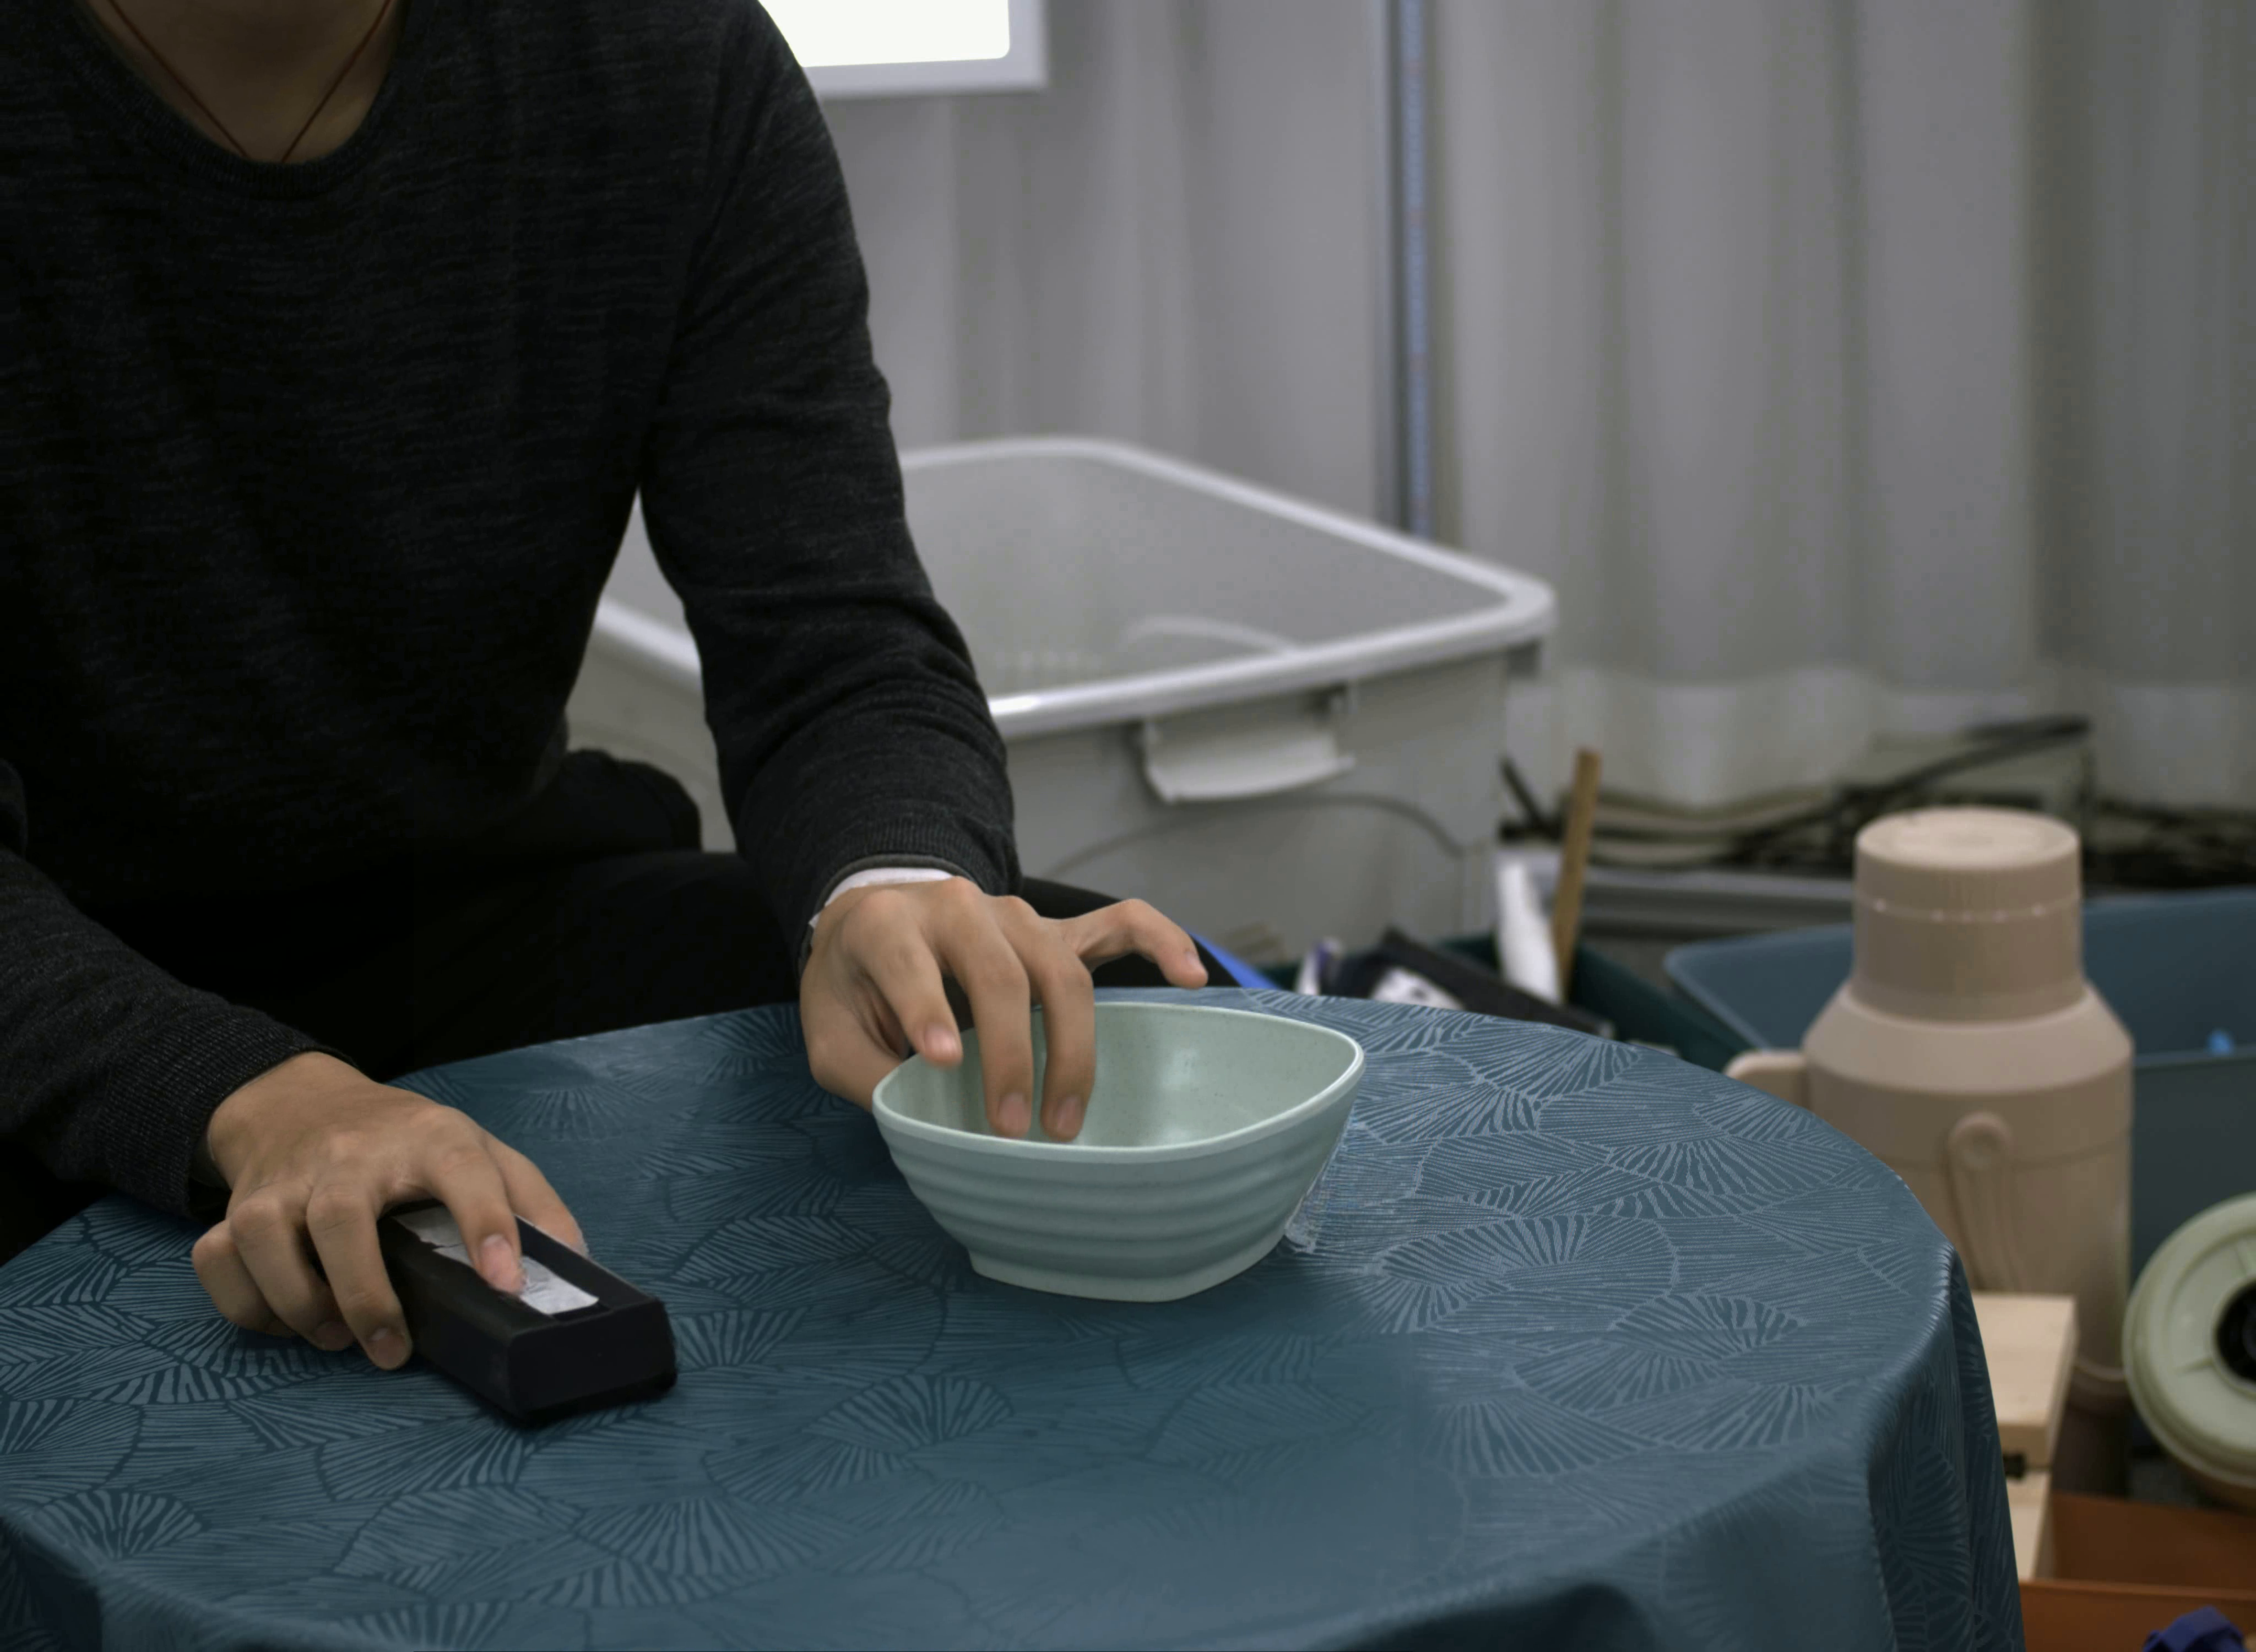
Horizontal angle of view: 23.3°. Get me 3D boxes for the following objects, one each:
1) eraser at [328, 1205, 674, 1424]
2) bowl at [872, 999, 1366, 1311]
[{"bbox_3d":[-0.183,0.141,1.594,0.053,0.030,0.126,-8,15,-31],"label":"eraser"},{"bbox_3d":[-0.002,0.103,1.654,0.151,0.058,0.152,-1,16,0],"label":"bowl"}]
